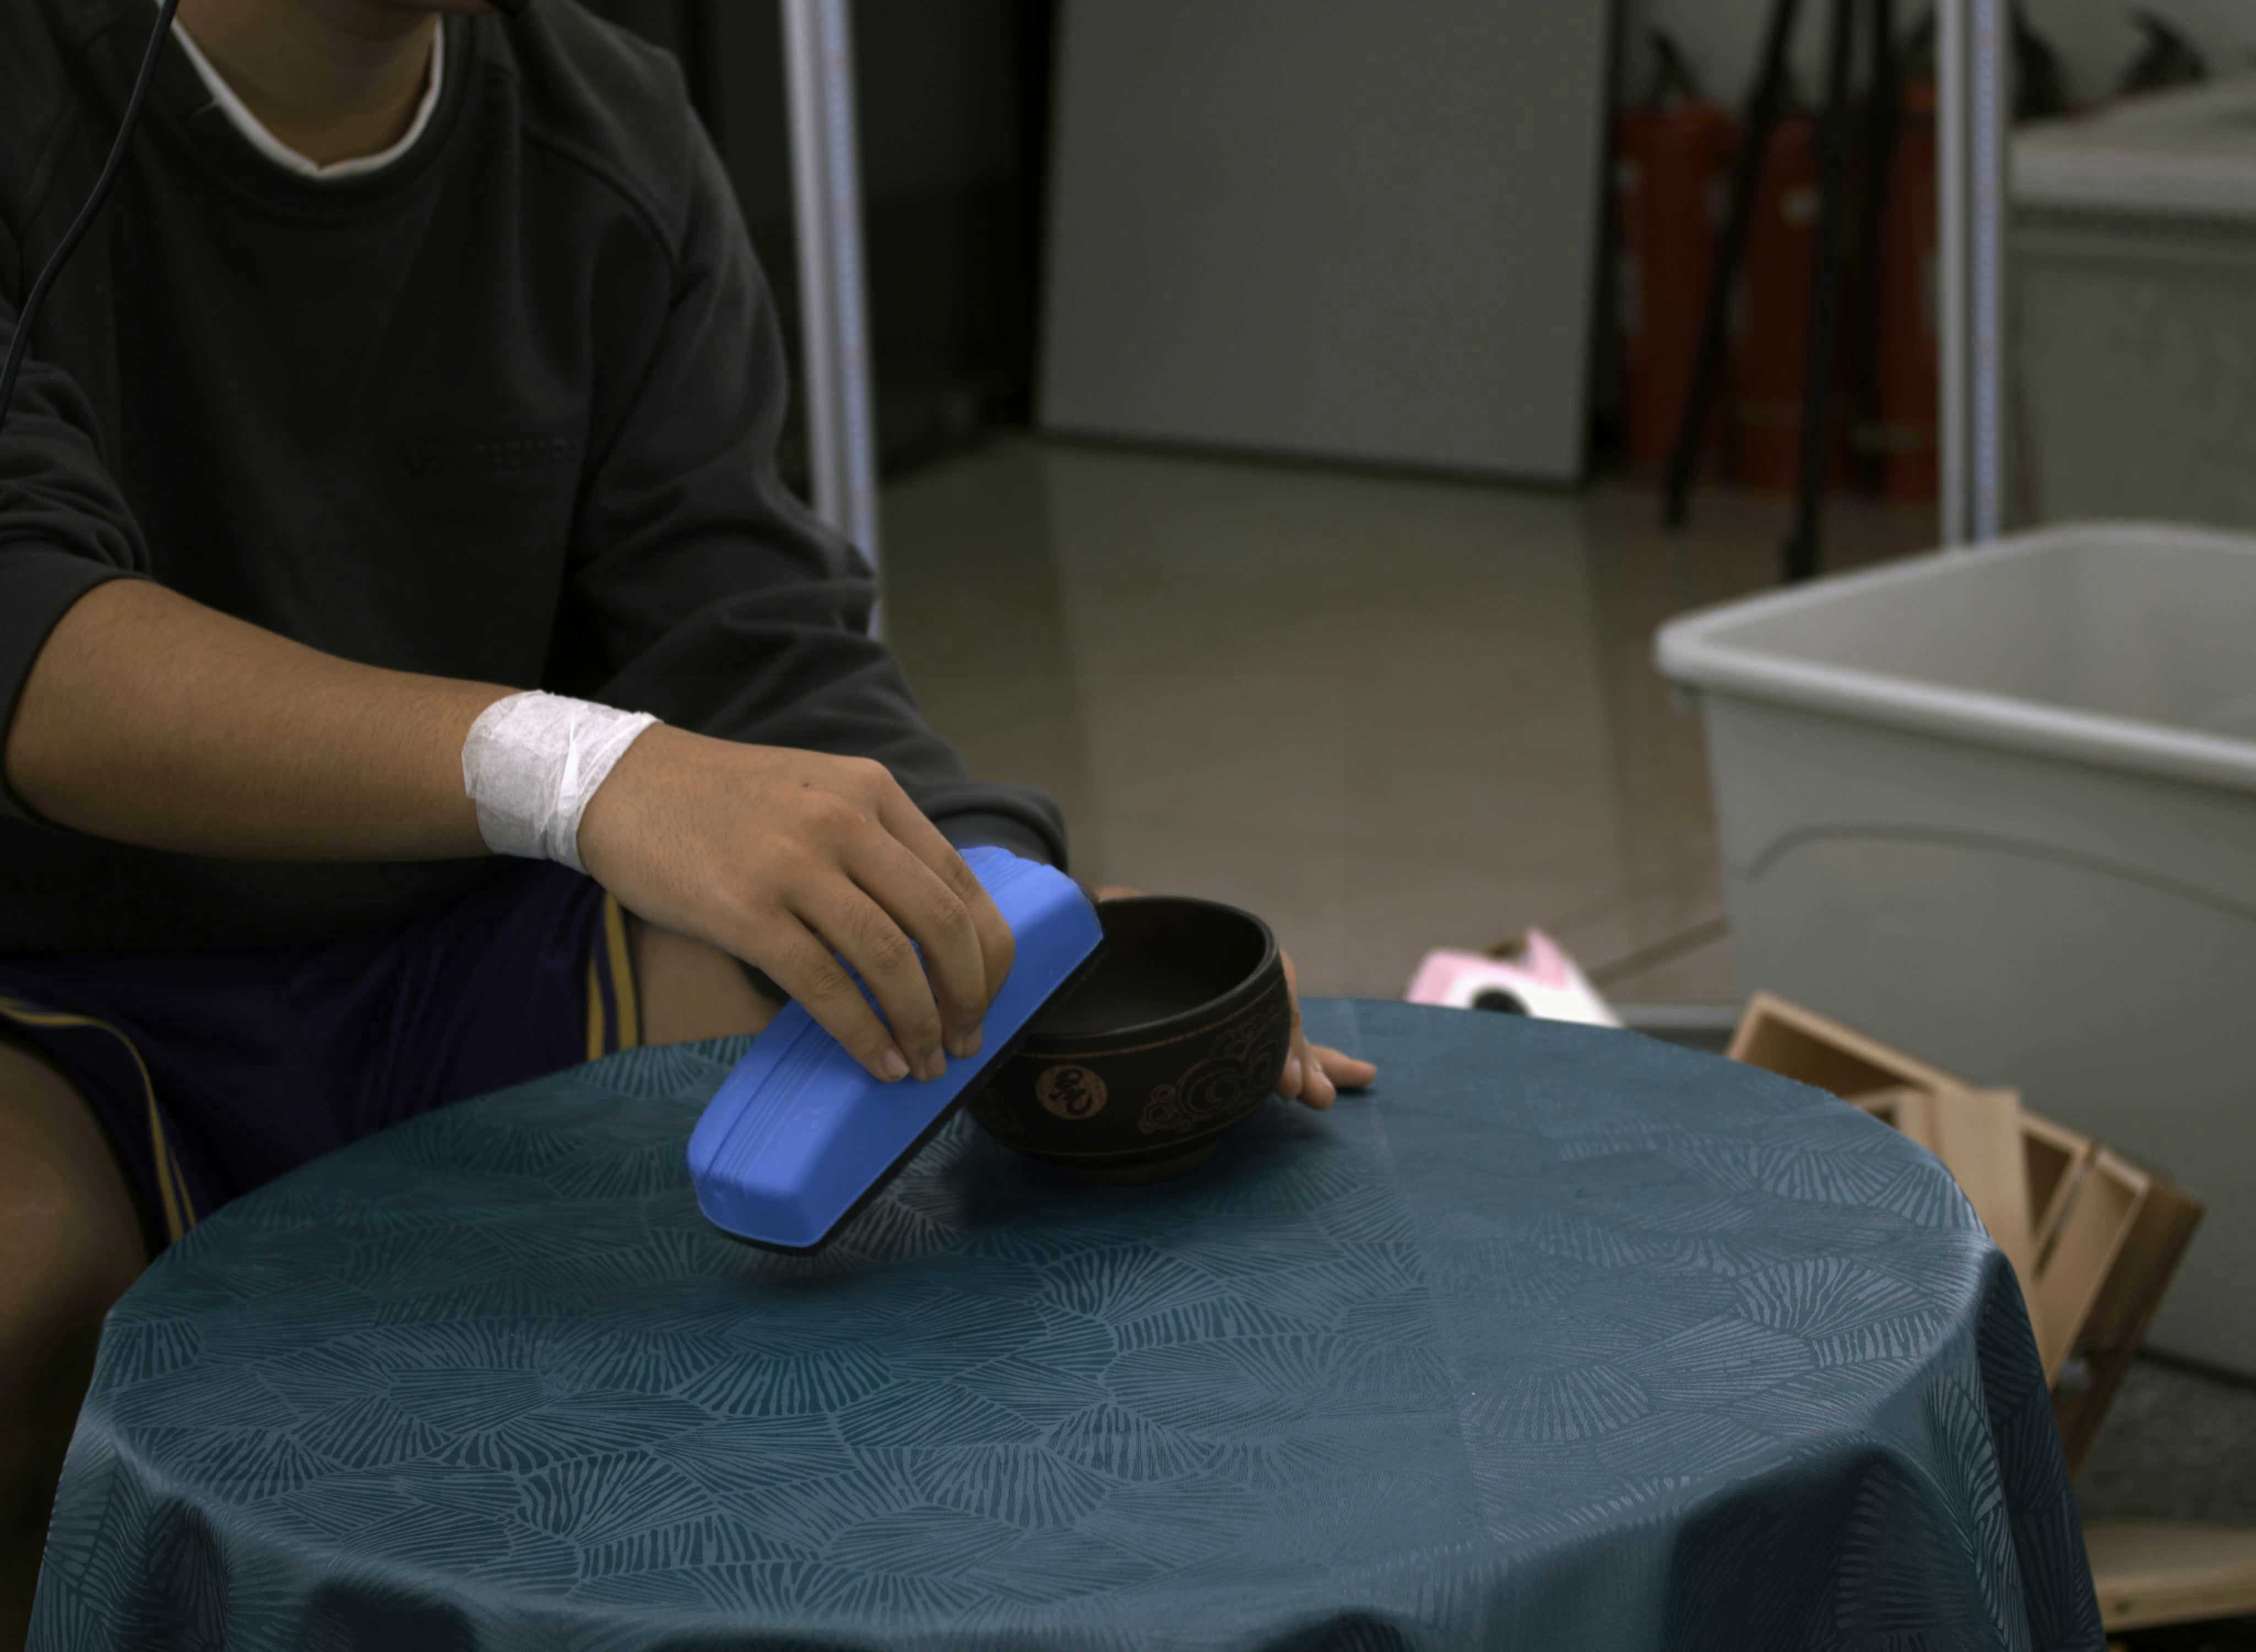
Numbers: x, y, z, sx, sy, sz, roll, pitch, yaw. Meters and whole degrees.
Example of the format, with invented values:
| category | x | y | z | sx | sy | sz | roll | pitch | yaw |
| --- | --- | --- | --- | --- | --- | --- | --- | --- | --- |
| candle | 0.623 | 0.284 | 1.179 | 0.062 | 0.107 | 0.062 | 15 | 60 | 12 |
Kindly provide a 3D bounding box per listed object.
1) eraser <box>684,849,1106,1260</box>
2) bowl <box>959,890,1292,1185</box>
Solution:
| category | x | y | z | sx | sy | sz | roll | pitch | yaw |
| --- | --- | --- | --- | --- | --- | --- | --- | --- | --- |
| eraser | -0.074 | 0.067 | 1.718 | 0.054 | 0.047 | 0.161 | 17 | 51 | 38 |
| bowl | -0.002 | 0.075 | 1.786 | 0.117 | 0.070 | 0.118 | -10 | 21 | 3 |
